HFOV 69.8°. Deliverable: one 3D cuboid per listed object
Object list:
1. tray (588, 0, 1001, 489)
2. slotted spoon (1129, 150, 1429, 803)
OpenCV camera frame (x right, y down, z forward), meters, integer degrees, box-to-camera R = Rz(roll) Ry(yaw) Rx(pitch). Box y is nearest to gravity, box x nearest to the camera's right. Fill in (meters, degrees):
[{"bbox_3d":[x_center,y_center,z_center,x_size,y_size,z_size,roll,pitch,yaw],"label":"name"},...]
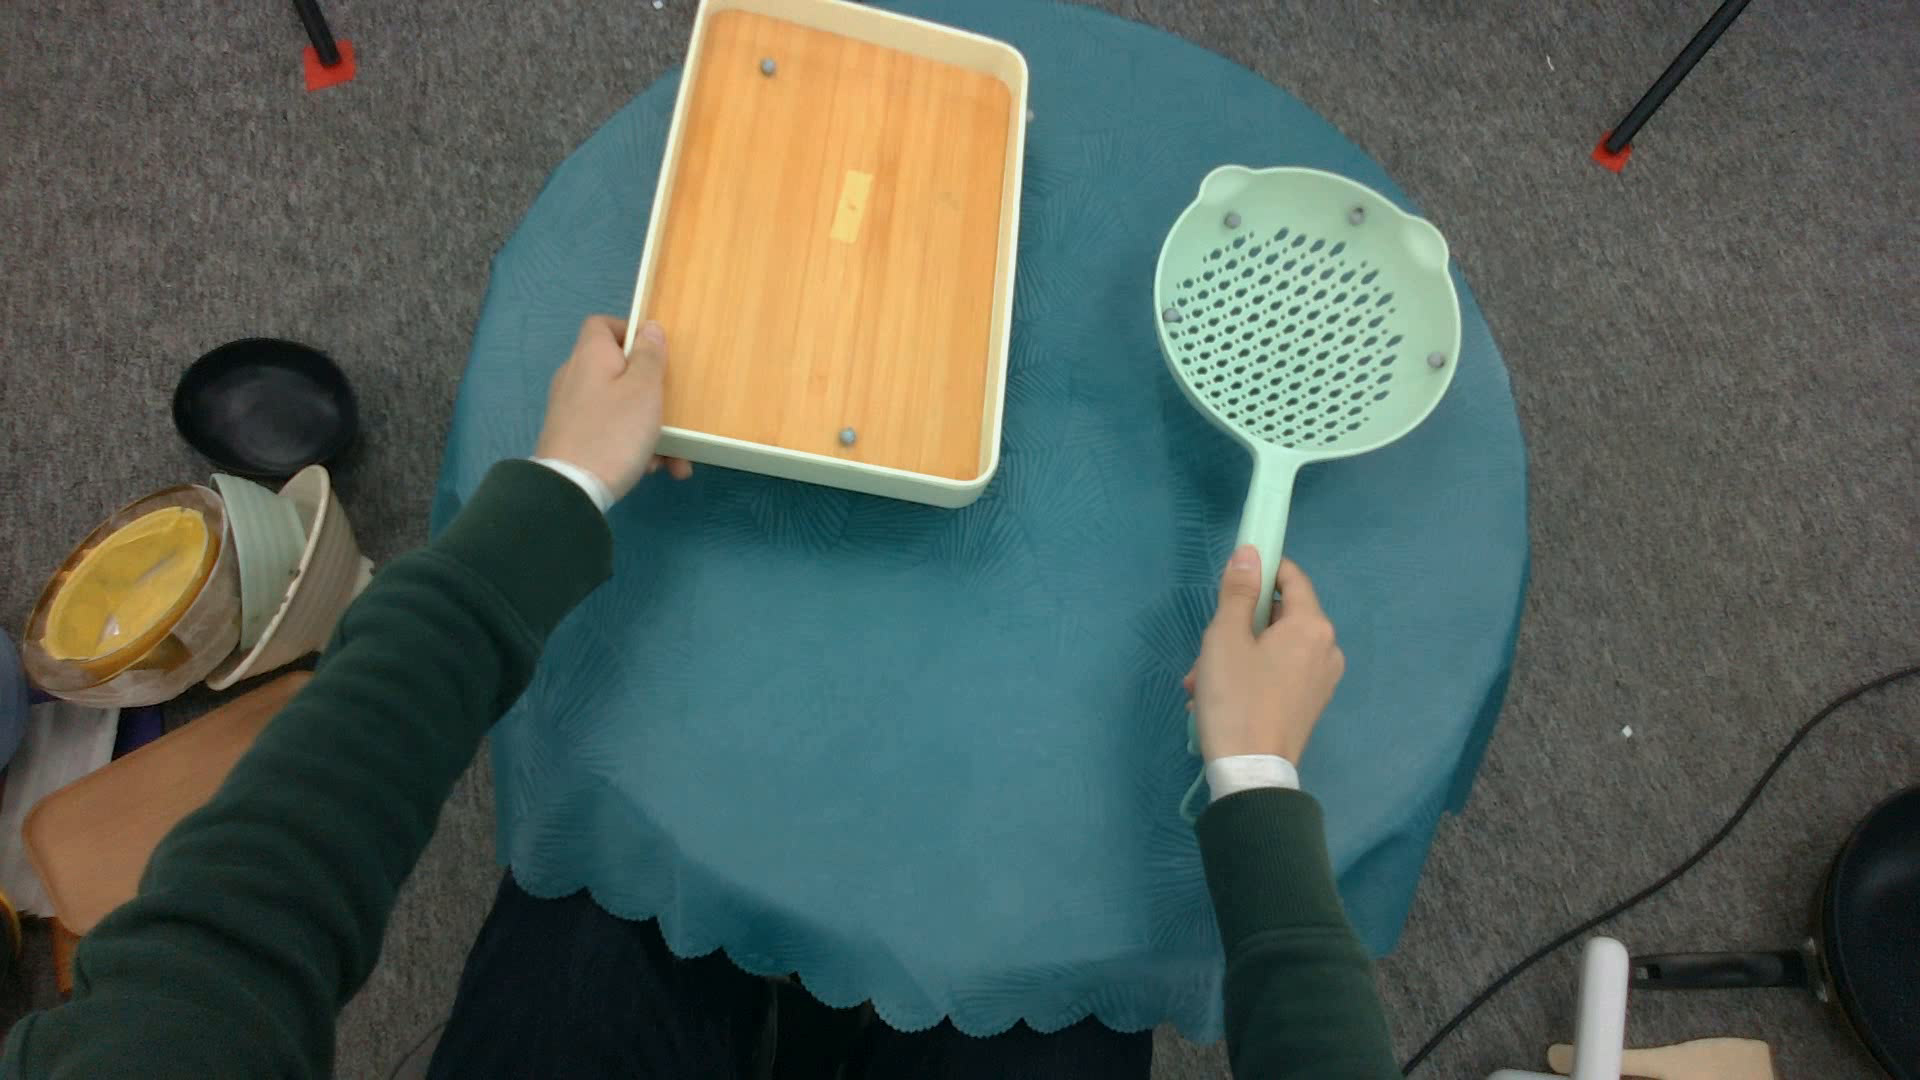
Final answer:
[{"bbox_3d":[-0.079,-0.176,0.742,0.192,0.027,0.301,10,62,-11],"label":"tray"},{"bbox_3d":[0.149,-0.043,0.718,0.169,0.075,0.360,15,62,-3],"label":"slotted spoon"}]
